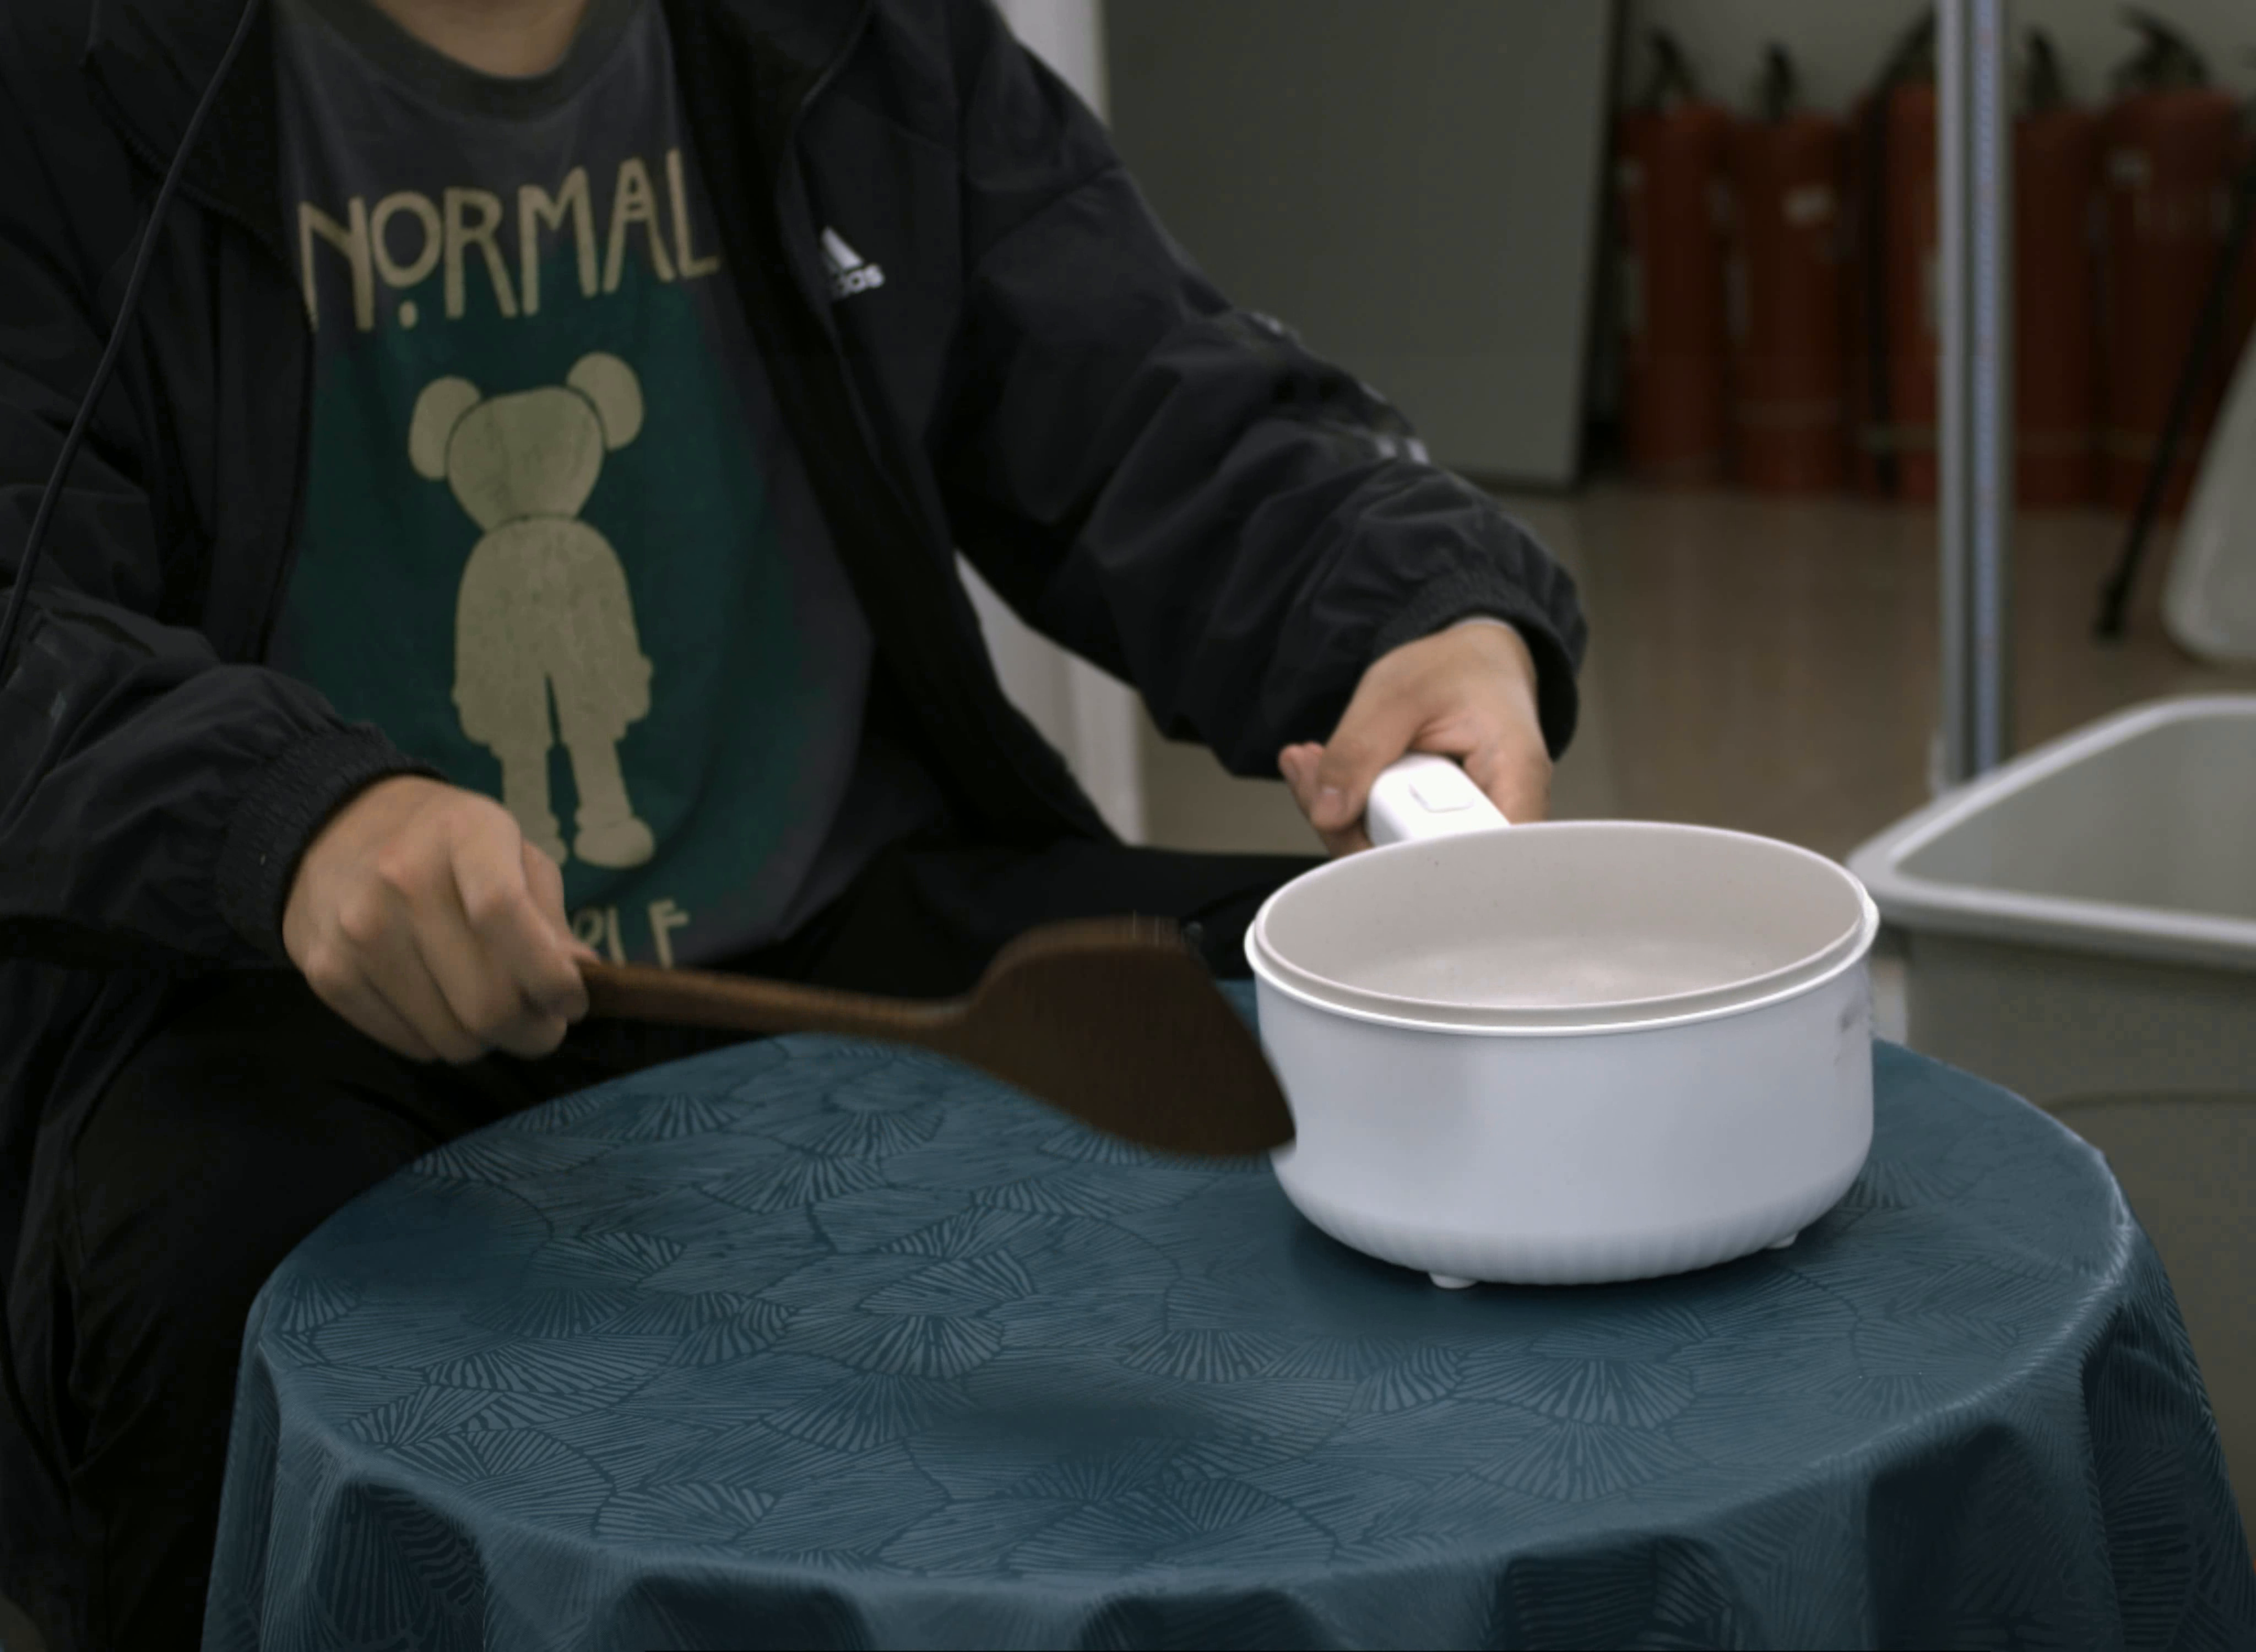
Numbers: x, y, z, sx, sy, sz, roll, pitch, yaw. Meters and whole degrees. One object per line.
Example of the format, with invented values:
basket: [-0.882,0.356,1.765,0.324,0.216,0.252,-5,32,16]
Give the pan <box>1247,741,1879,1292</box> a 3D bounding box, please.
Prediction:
pan: [0.127,0.057,1.777,0.198,0.103,0.357,-7,14,-8]

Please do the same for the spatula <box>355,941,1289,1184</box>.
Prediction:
spatula: [-0.108,0.061,1.667,0.389,0.096,0.016,5,46,42]
